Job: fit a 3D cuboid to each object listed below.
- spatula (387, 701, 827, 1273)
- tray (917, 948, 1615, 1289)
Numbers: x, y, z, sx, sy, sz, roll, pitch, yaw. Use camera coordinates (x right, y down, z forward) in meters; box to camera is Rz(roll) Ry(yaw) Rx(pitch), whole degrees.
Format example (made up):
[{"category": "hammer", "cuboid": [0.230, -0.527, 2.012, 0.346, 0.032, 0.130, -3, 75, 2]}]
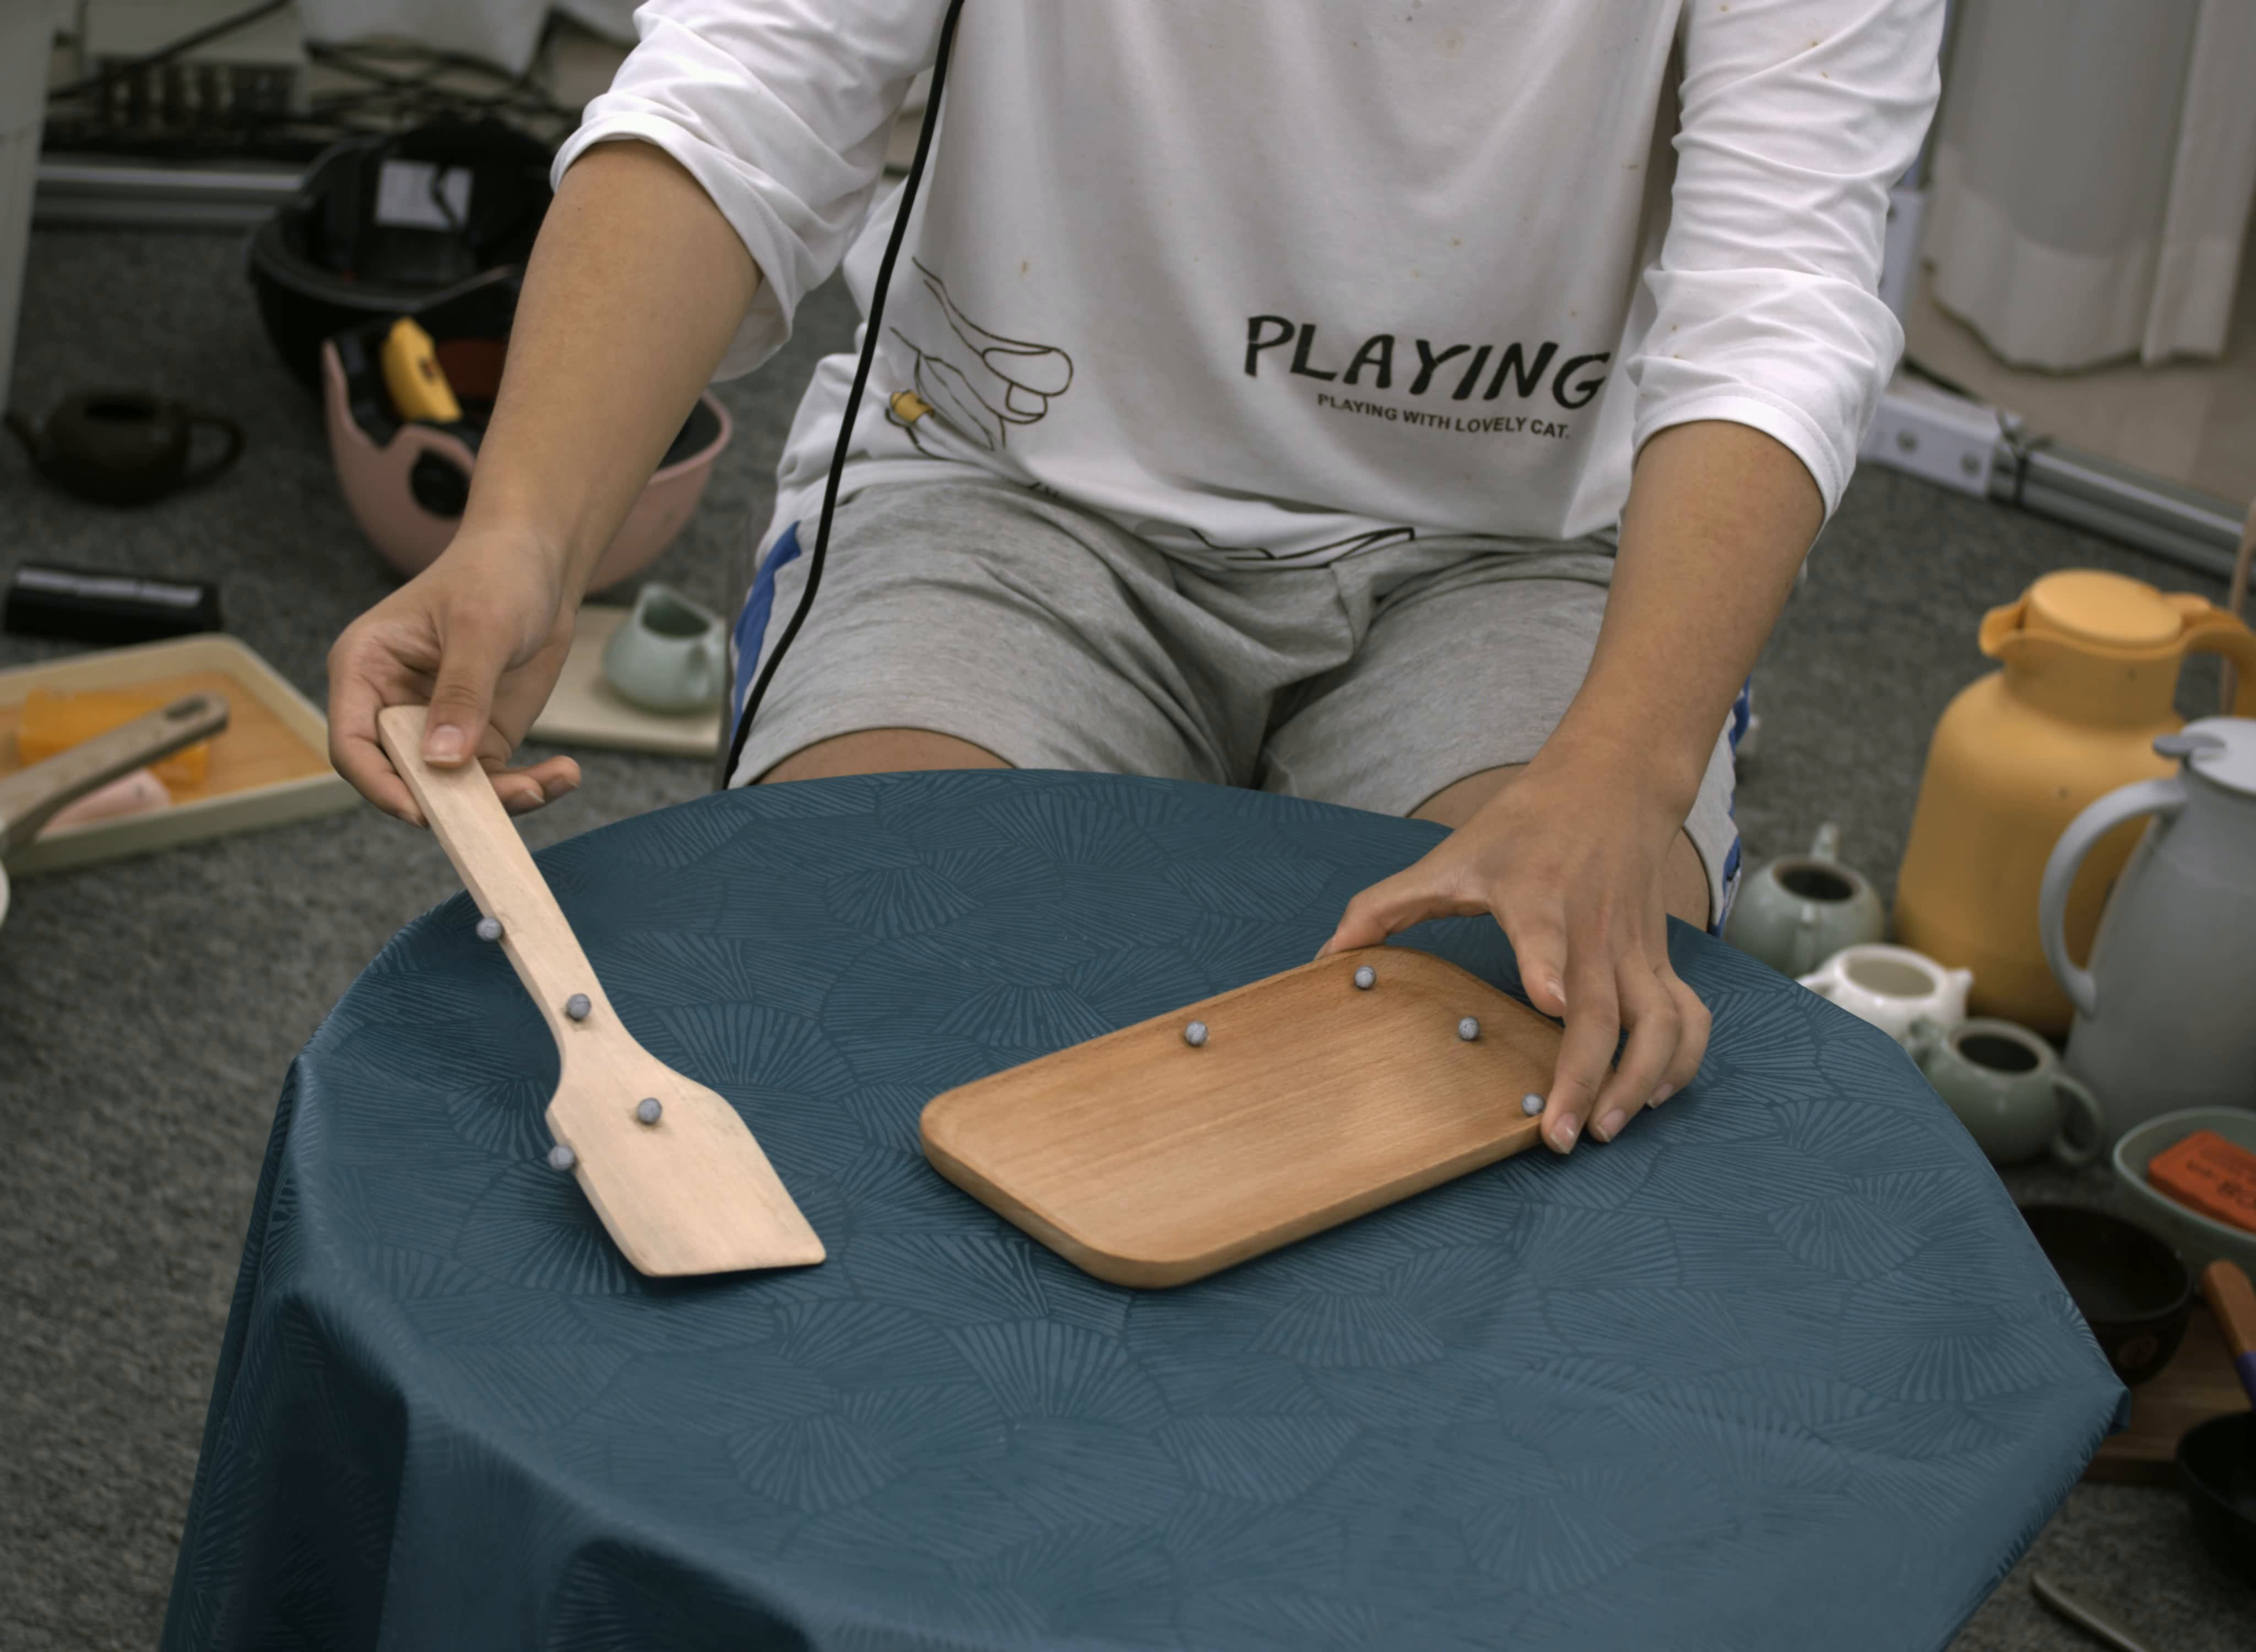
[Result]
[{"category": "spatula", "cuboid": [-0.192, 0.051, 1.820, 0.072, 0.010, 0.296, -3, 41, -33]}, {"category": "tray", "cuboid": [0.050, 0.100, 1.848, 0.249, 0.023, 0.131, -18, 33, -39]}]
